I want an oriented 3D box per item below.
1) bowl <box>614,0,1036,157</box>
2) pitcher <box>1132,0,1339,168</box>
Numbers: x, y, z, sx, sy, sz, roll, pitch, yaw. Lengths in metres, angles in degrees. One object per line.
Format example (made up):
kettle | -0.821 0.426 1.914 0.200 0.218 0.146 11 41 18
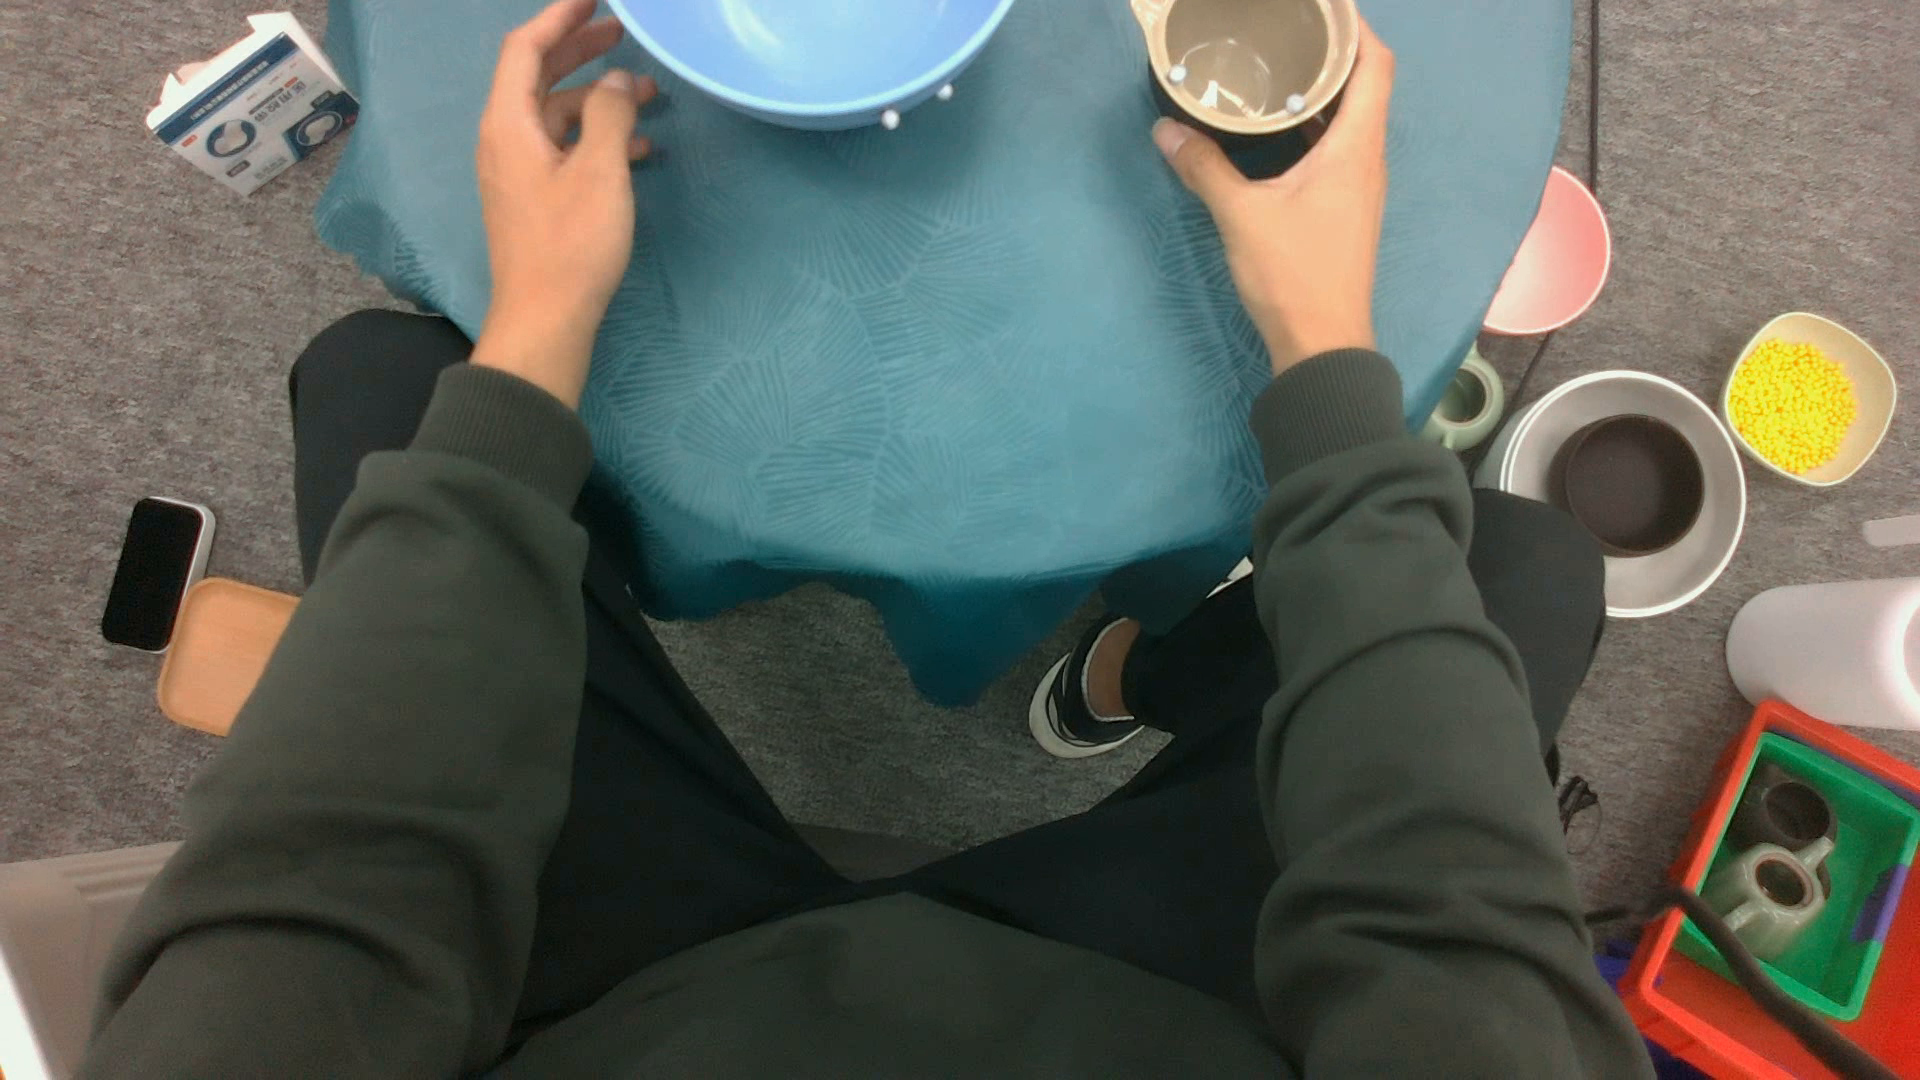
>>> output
bowl | -0.059 -0.265 0.646 0.196 0.095 0.196 0 87 0
pitcher | 0.124 -0.218 0.653 0.096 0.071 0.084 15 86 0
